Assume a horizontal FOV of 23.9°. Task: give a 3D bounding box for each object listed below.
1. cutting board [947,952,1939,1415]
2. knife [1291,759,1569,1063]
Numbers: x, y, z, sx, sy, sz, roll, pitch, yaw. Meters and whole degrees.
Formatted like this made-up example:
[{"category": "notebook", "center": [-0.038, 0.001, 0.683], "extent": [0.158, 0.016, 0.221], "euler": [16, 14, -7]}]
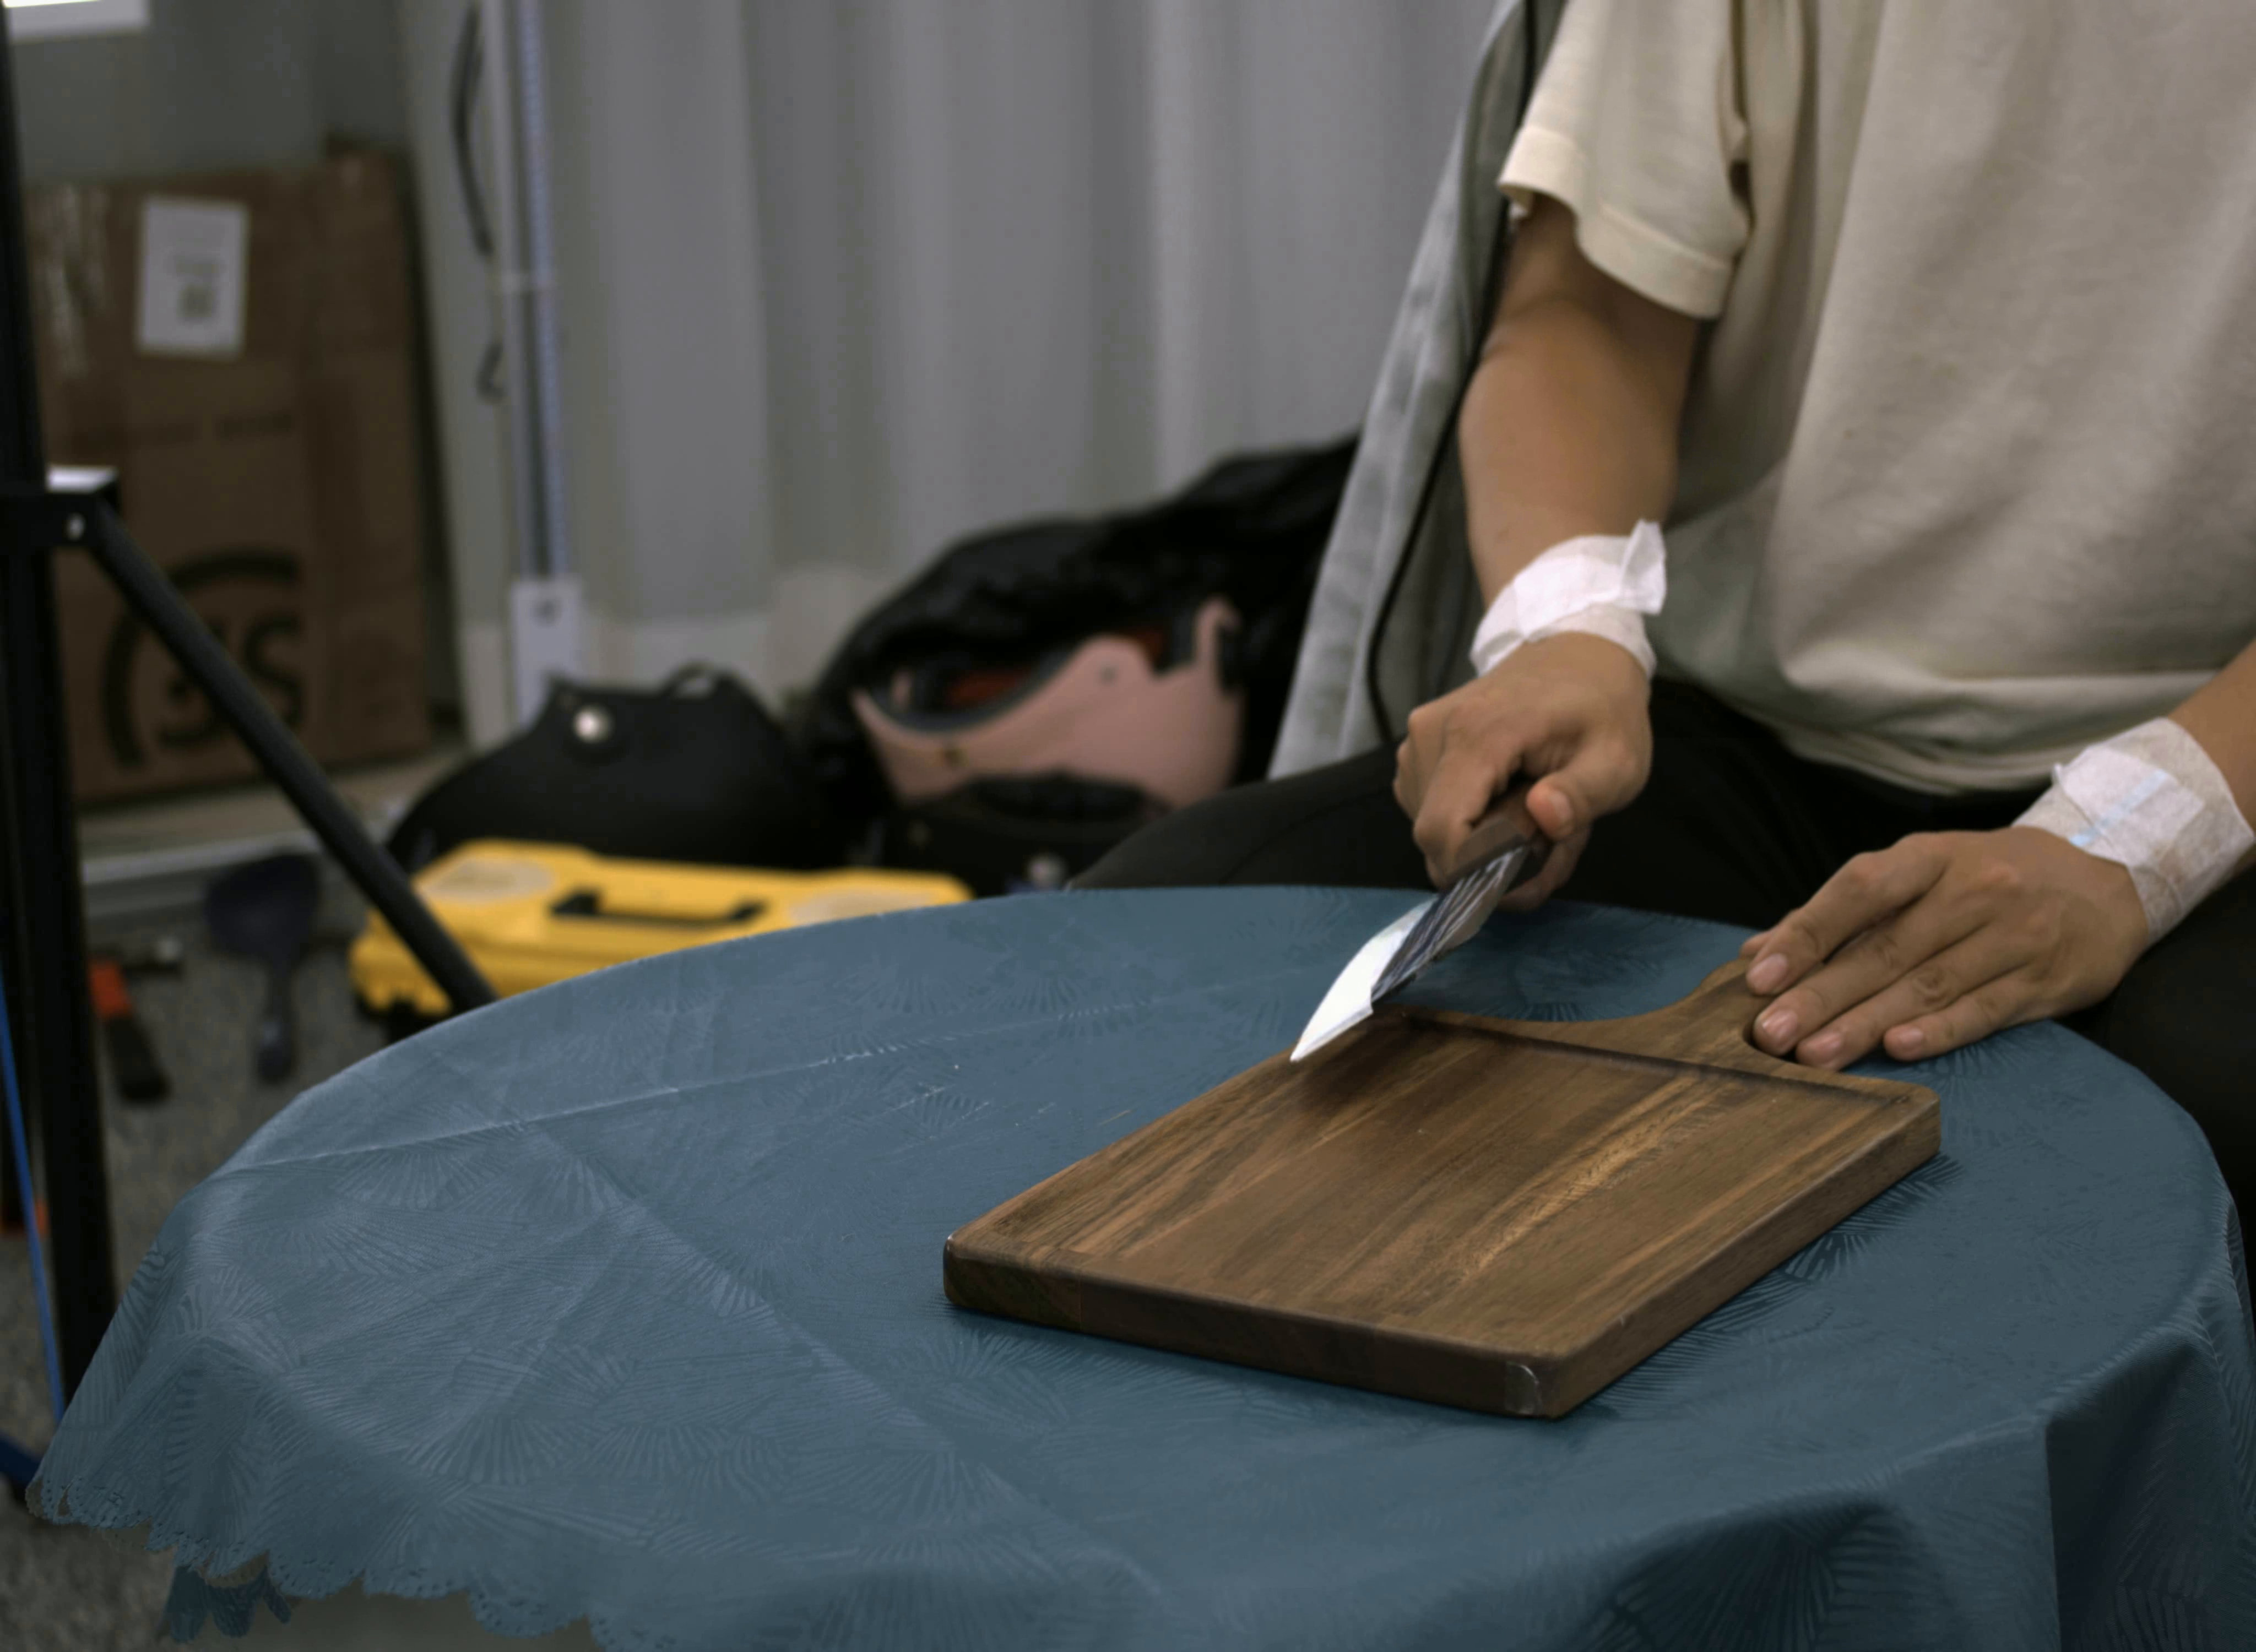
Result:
[{"category": "cutting board", "center": [0.121, 0.093, 1.552], "extent": [0.205, 0.023, 0.345], "euler": [8, 18, 32]}, {"category": "knife", "center": [0.099, 0.028, 1.709], "extent": [0.068, 0.024, 0.297], "euler": [-32, 4, 17]}]
